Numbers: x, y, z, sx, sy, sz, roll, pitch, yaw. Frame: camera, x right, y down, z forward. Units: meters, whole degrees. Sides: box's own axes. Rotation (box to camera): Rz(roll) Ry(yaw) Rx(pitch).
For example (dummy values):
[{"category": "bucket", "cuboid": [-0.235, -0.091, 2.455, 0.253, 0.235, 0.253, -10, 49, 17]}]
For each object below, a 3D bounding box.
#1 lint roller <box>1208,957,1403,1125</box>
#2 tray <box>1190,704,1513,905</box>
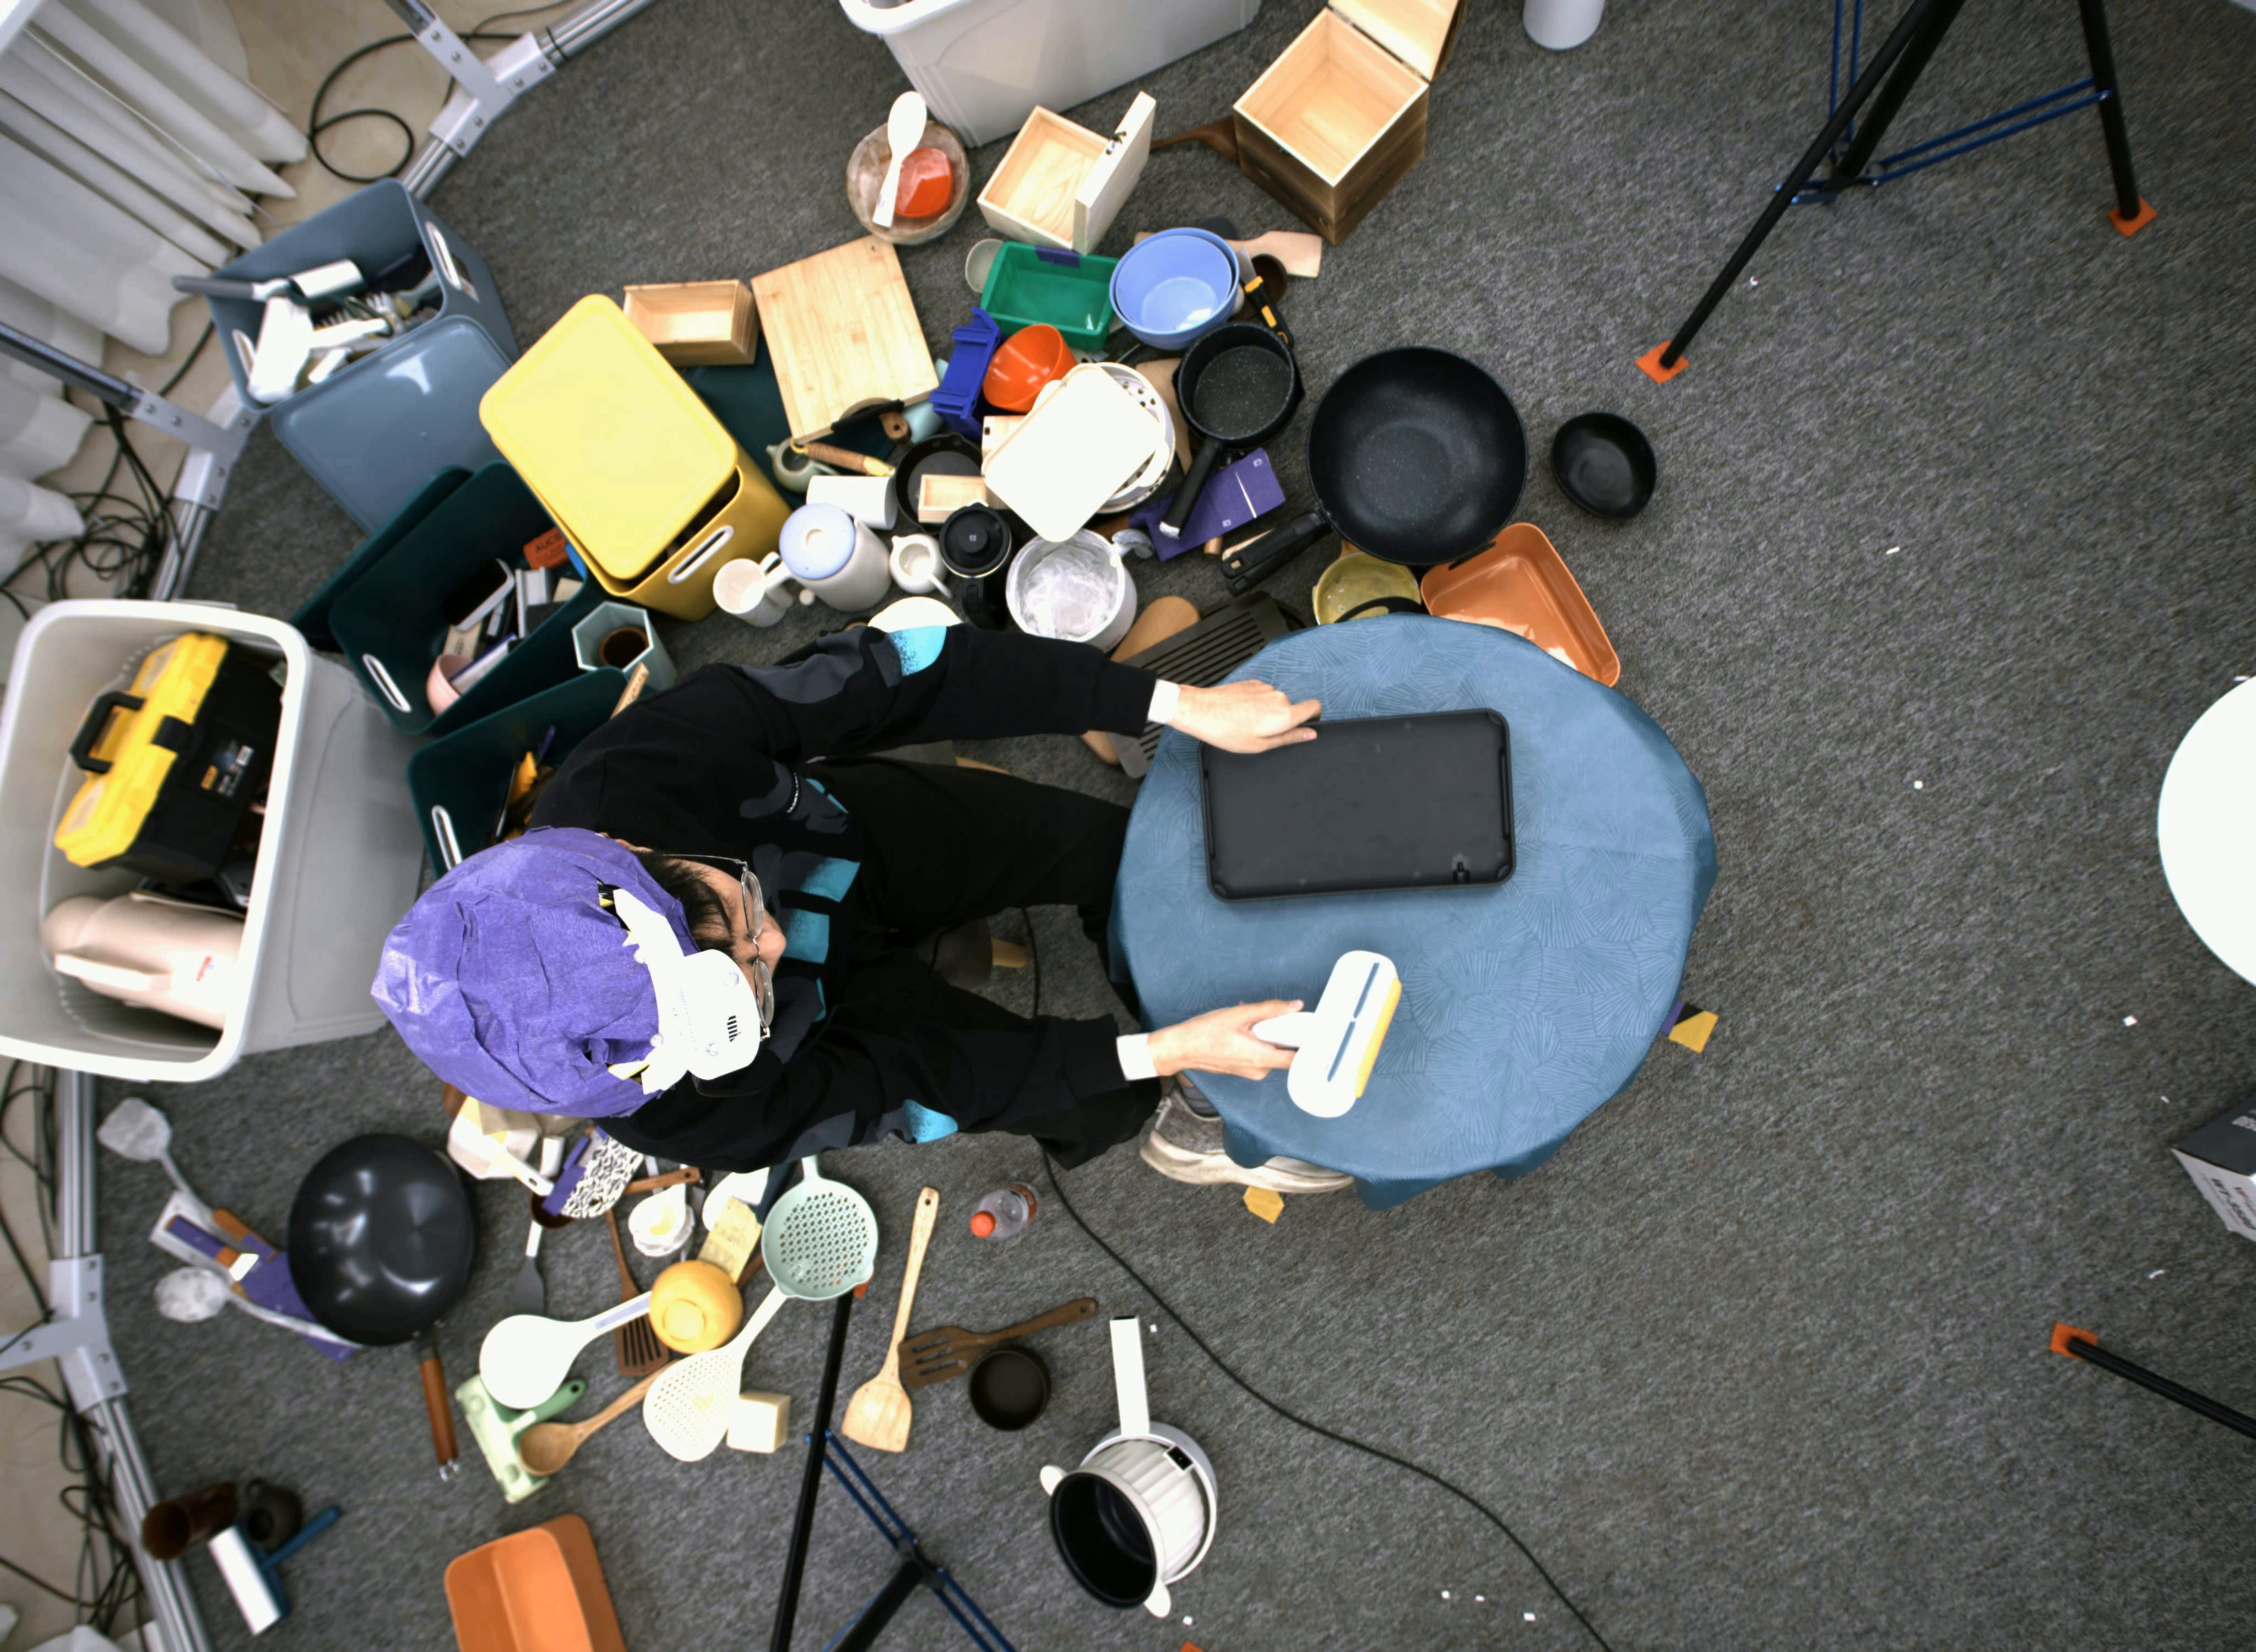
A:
[{"category": "lint roller", "cuboid": [0.163, 0.205, 1.388, 0.193, 0.076, 0.188, 8, 50, 31]}, {"category": "tray", "cuboid": [0.230, -0.023, 1.428, 0.319, 0.036, 0.185, -6, 100, 8]}]
